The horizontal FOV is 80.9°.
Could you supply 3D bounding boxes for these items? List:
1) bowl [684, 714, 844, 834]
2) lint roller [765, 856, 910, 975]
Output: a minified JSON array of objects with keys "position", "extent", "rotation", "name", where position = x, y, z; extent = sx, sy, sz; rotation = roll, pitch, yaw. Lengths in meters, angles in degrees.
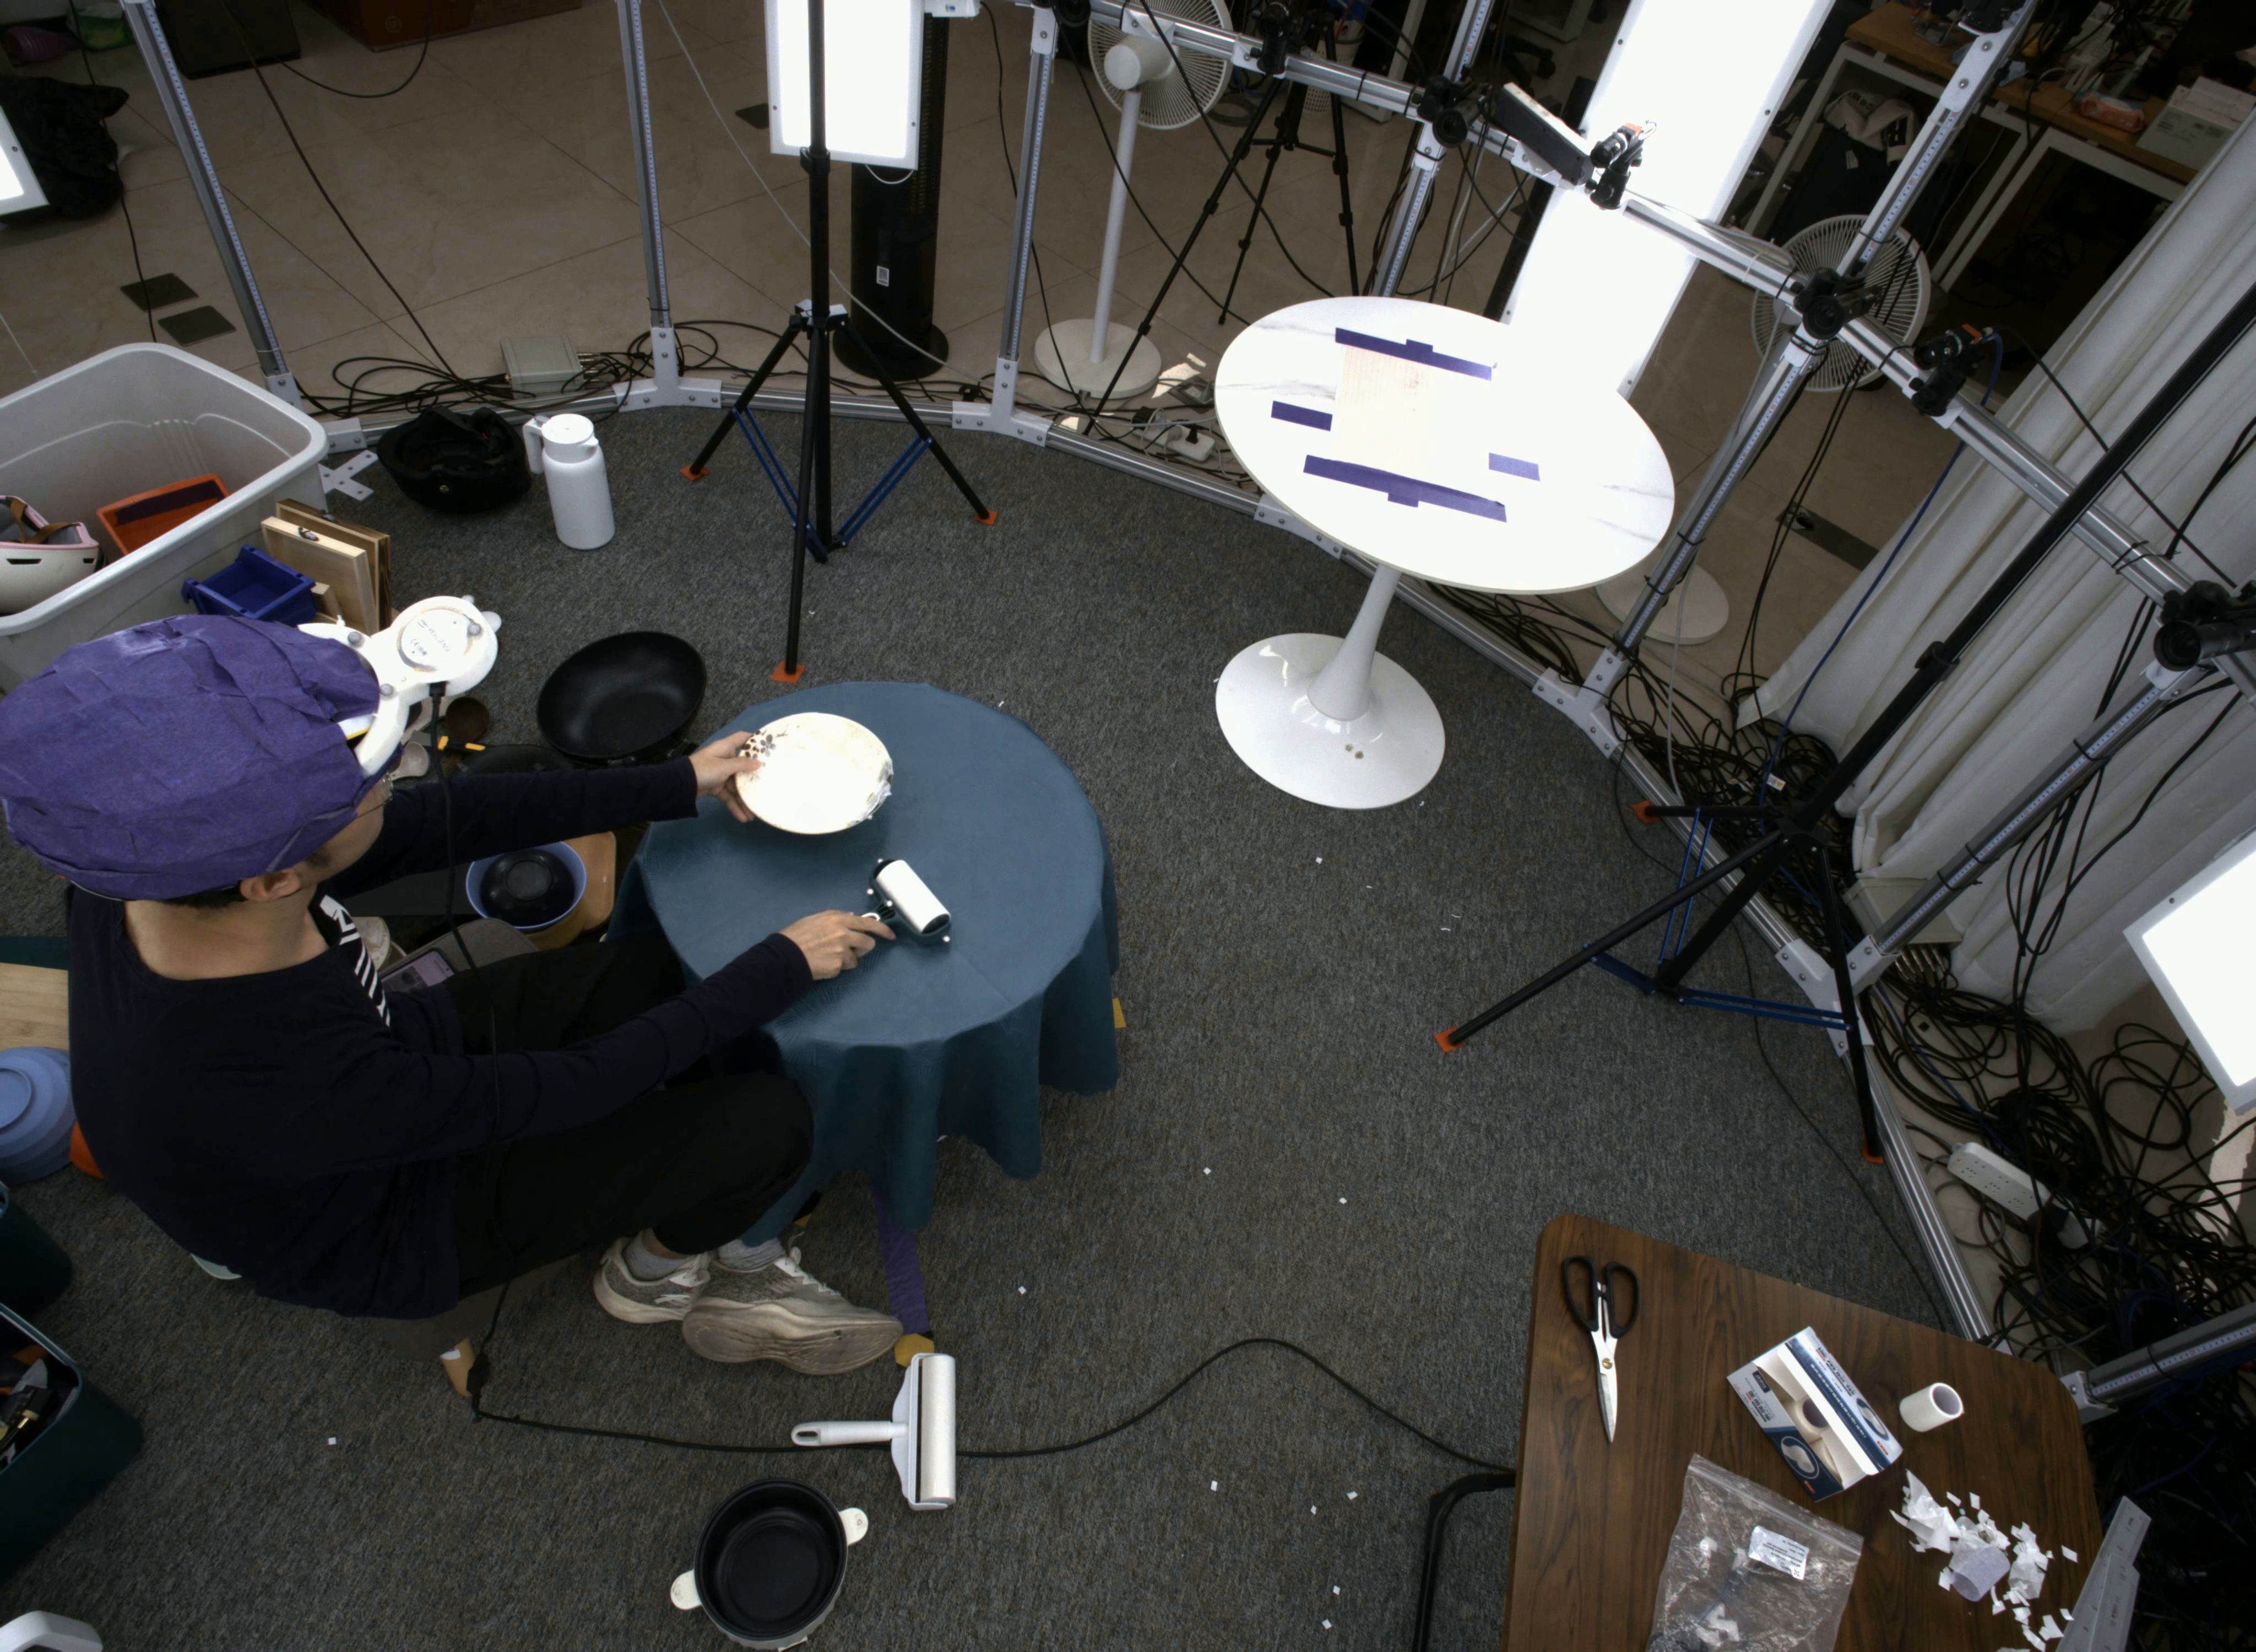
[{"position":[-0.475,-0.050,1.701],"extent":[0.203,0.080,0.200],"rotation":[7,49,-6],"name":"bowl"},{"position":[-0.374,0.123,1.616],"extent":[0.131,0.049,0.181],"rotation":[44,50,19],"name":"lint roller"}]
